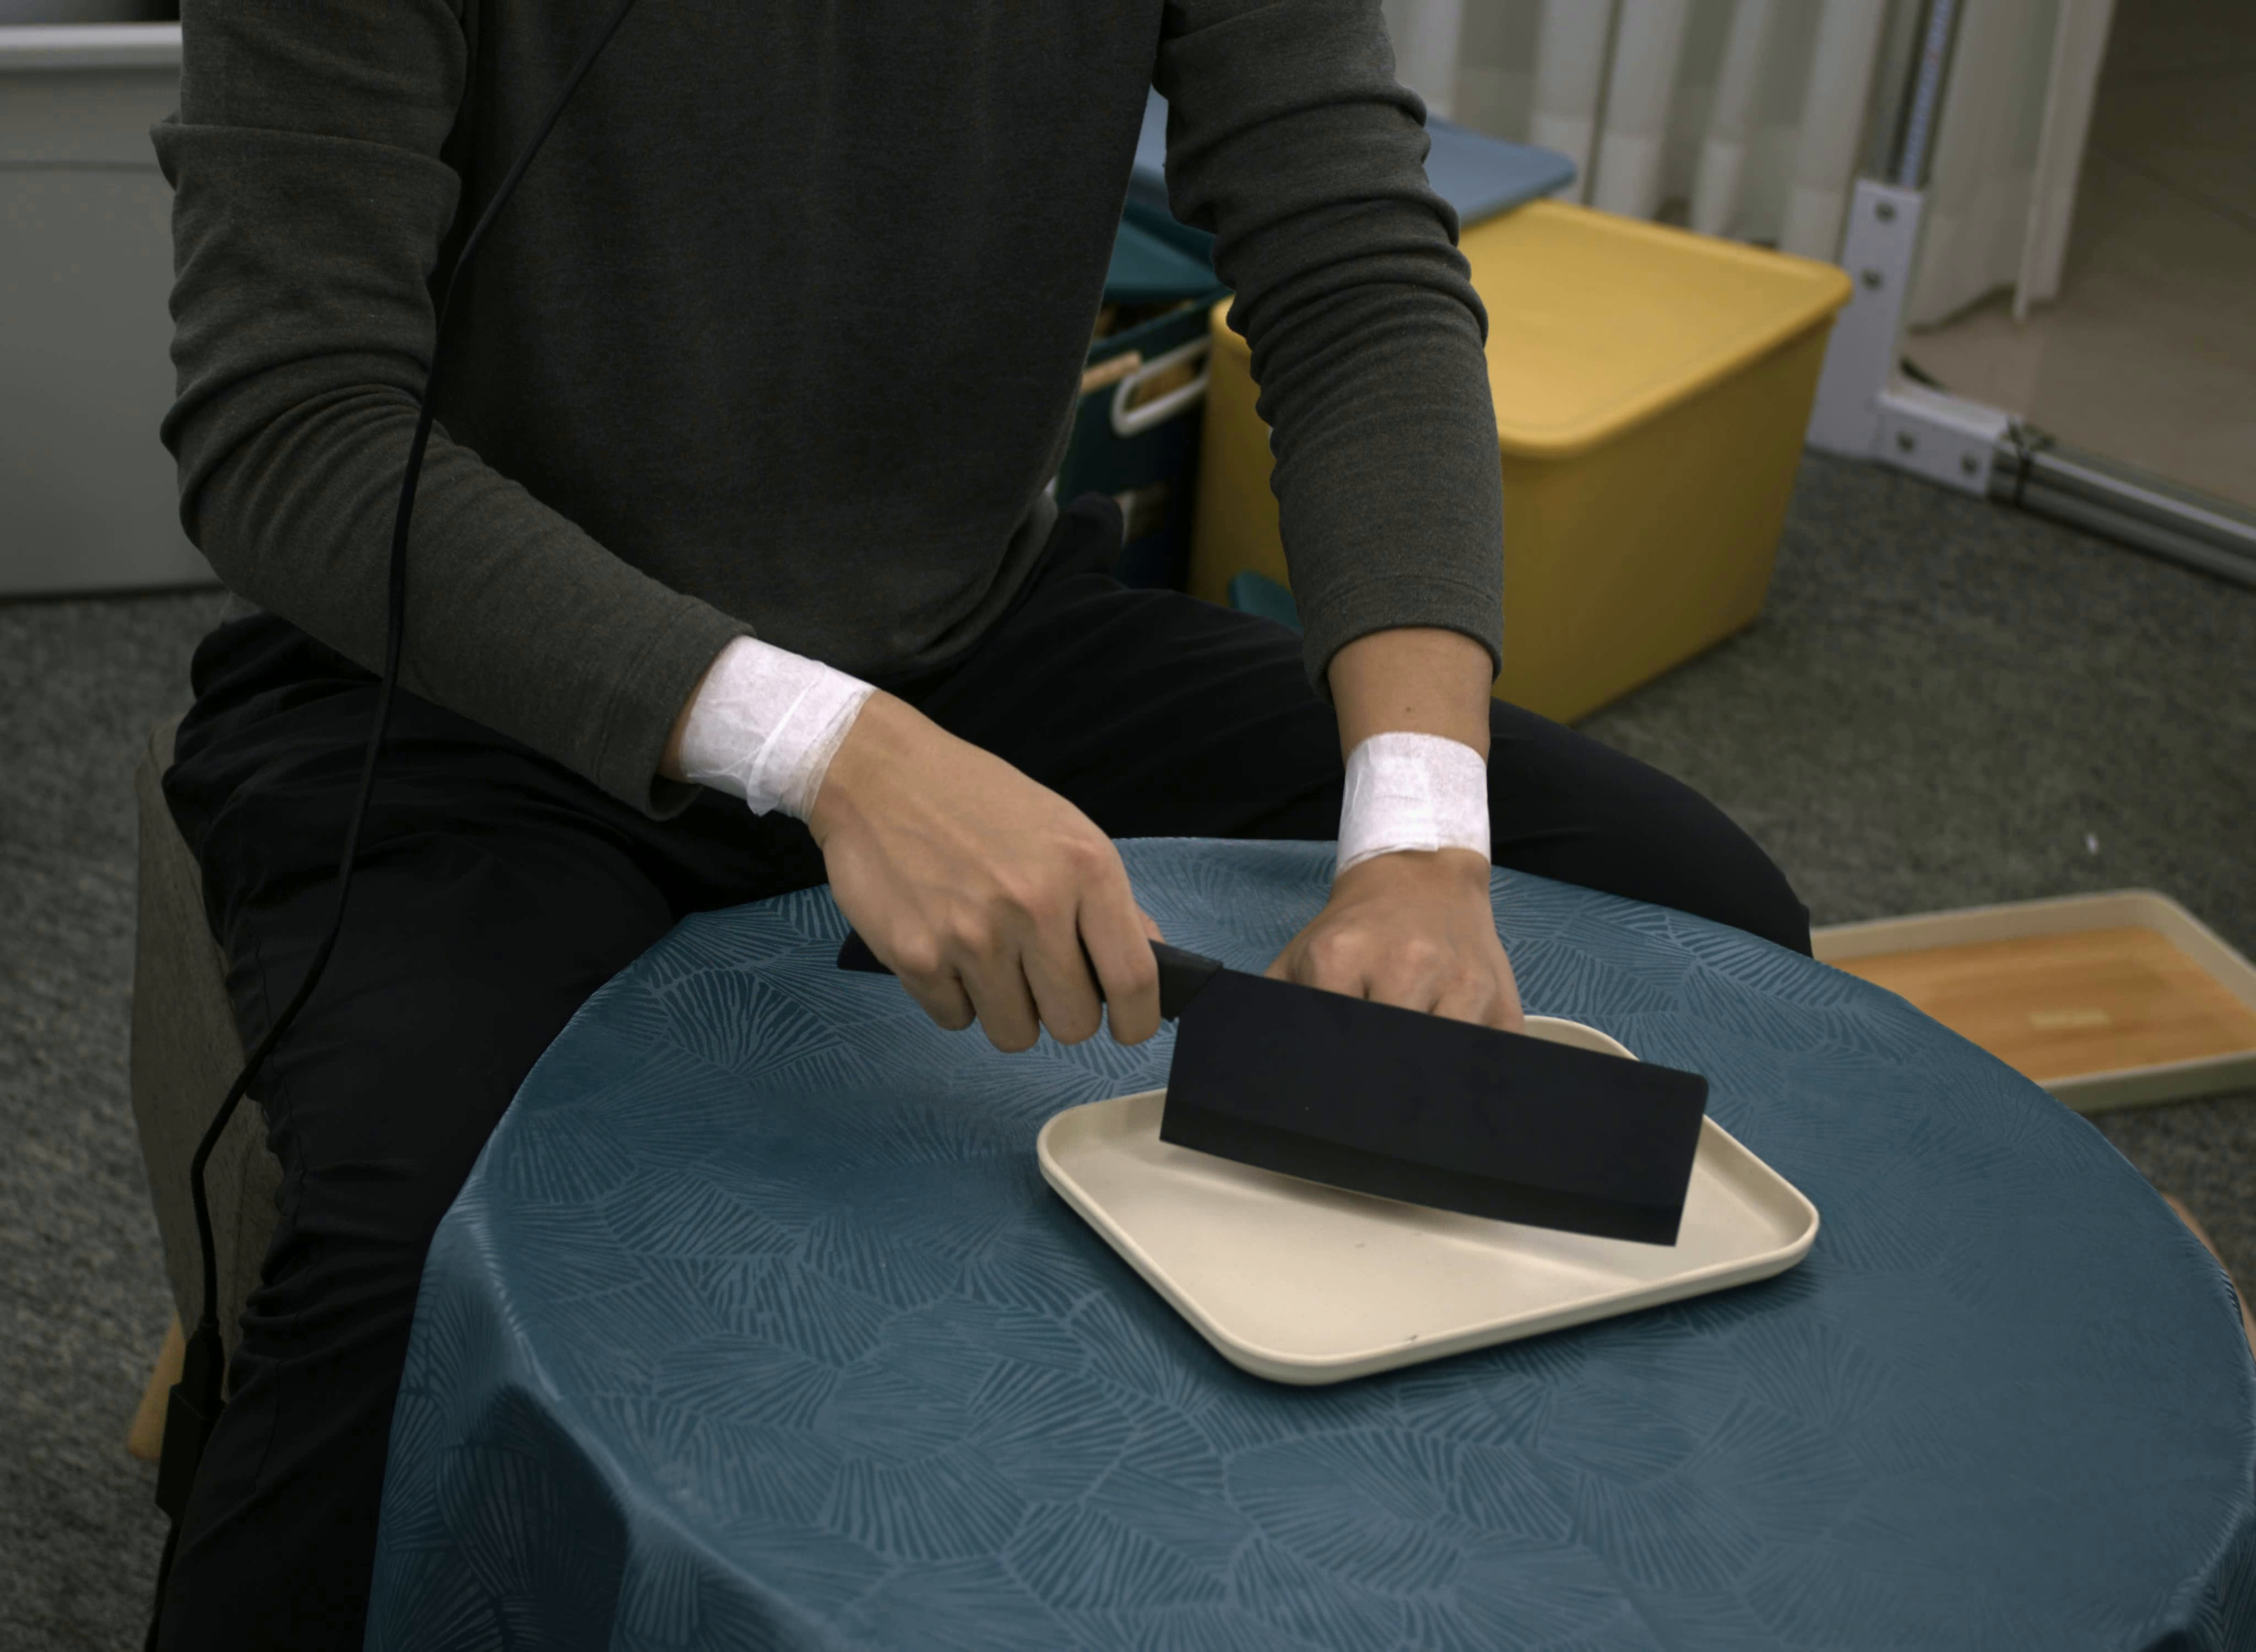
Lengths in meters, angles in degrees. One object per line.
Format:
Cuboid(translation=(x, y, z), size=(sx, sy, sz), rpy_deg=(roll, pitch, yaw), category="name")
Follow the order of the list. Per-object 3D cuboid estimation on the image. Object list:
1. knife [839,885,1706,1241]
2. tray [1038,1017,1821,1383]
Cuboid(translation=(0.045, 0.077, 1.797), size=(0.302, 0.081, 0.021), rpy_deg=(17, 12, 12), category="knife")
Cuboid(translation=(0.102, 0.126, 1.804), size=(0.238, 0.017, 0.173), rpy_deg=(-10, 30, -29), category="tray")
